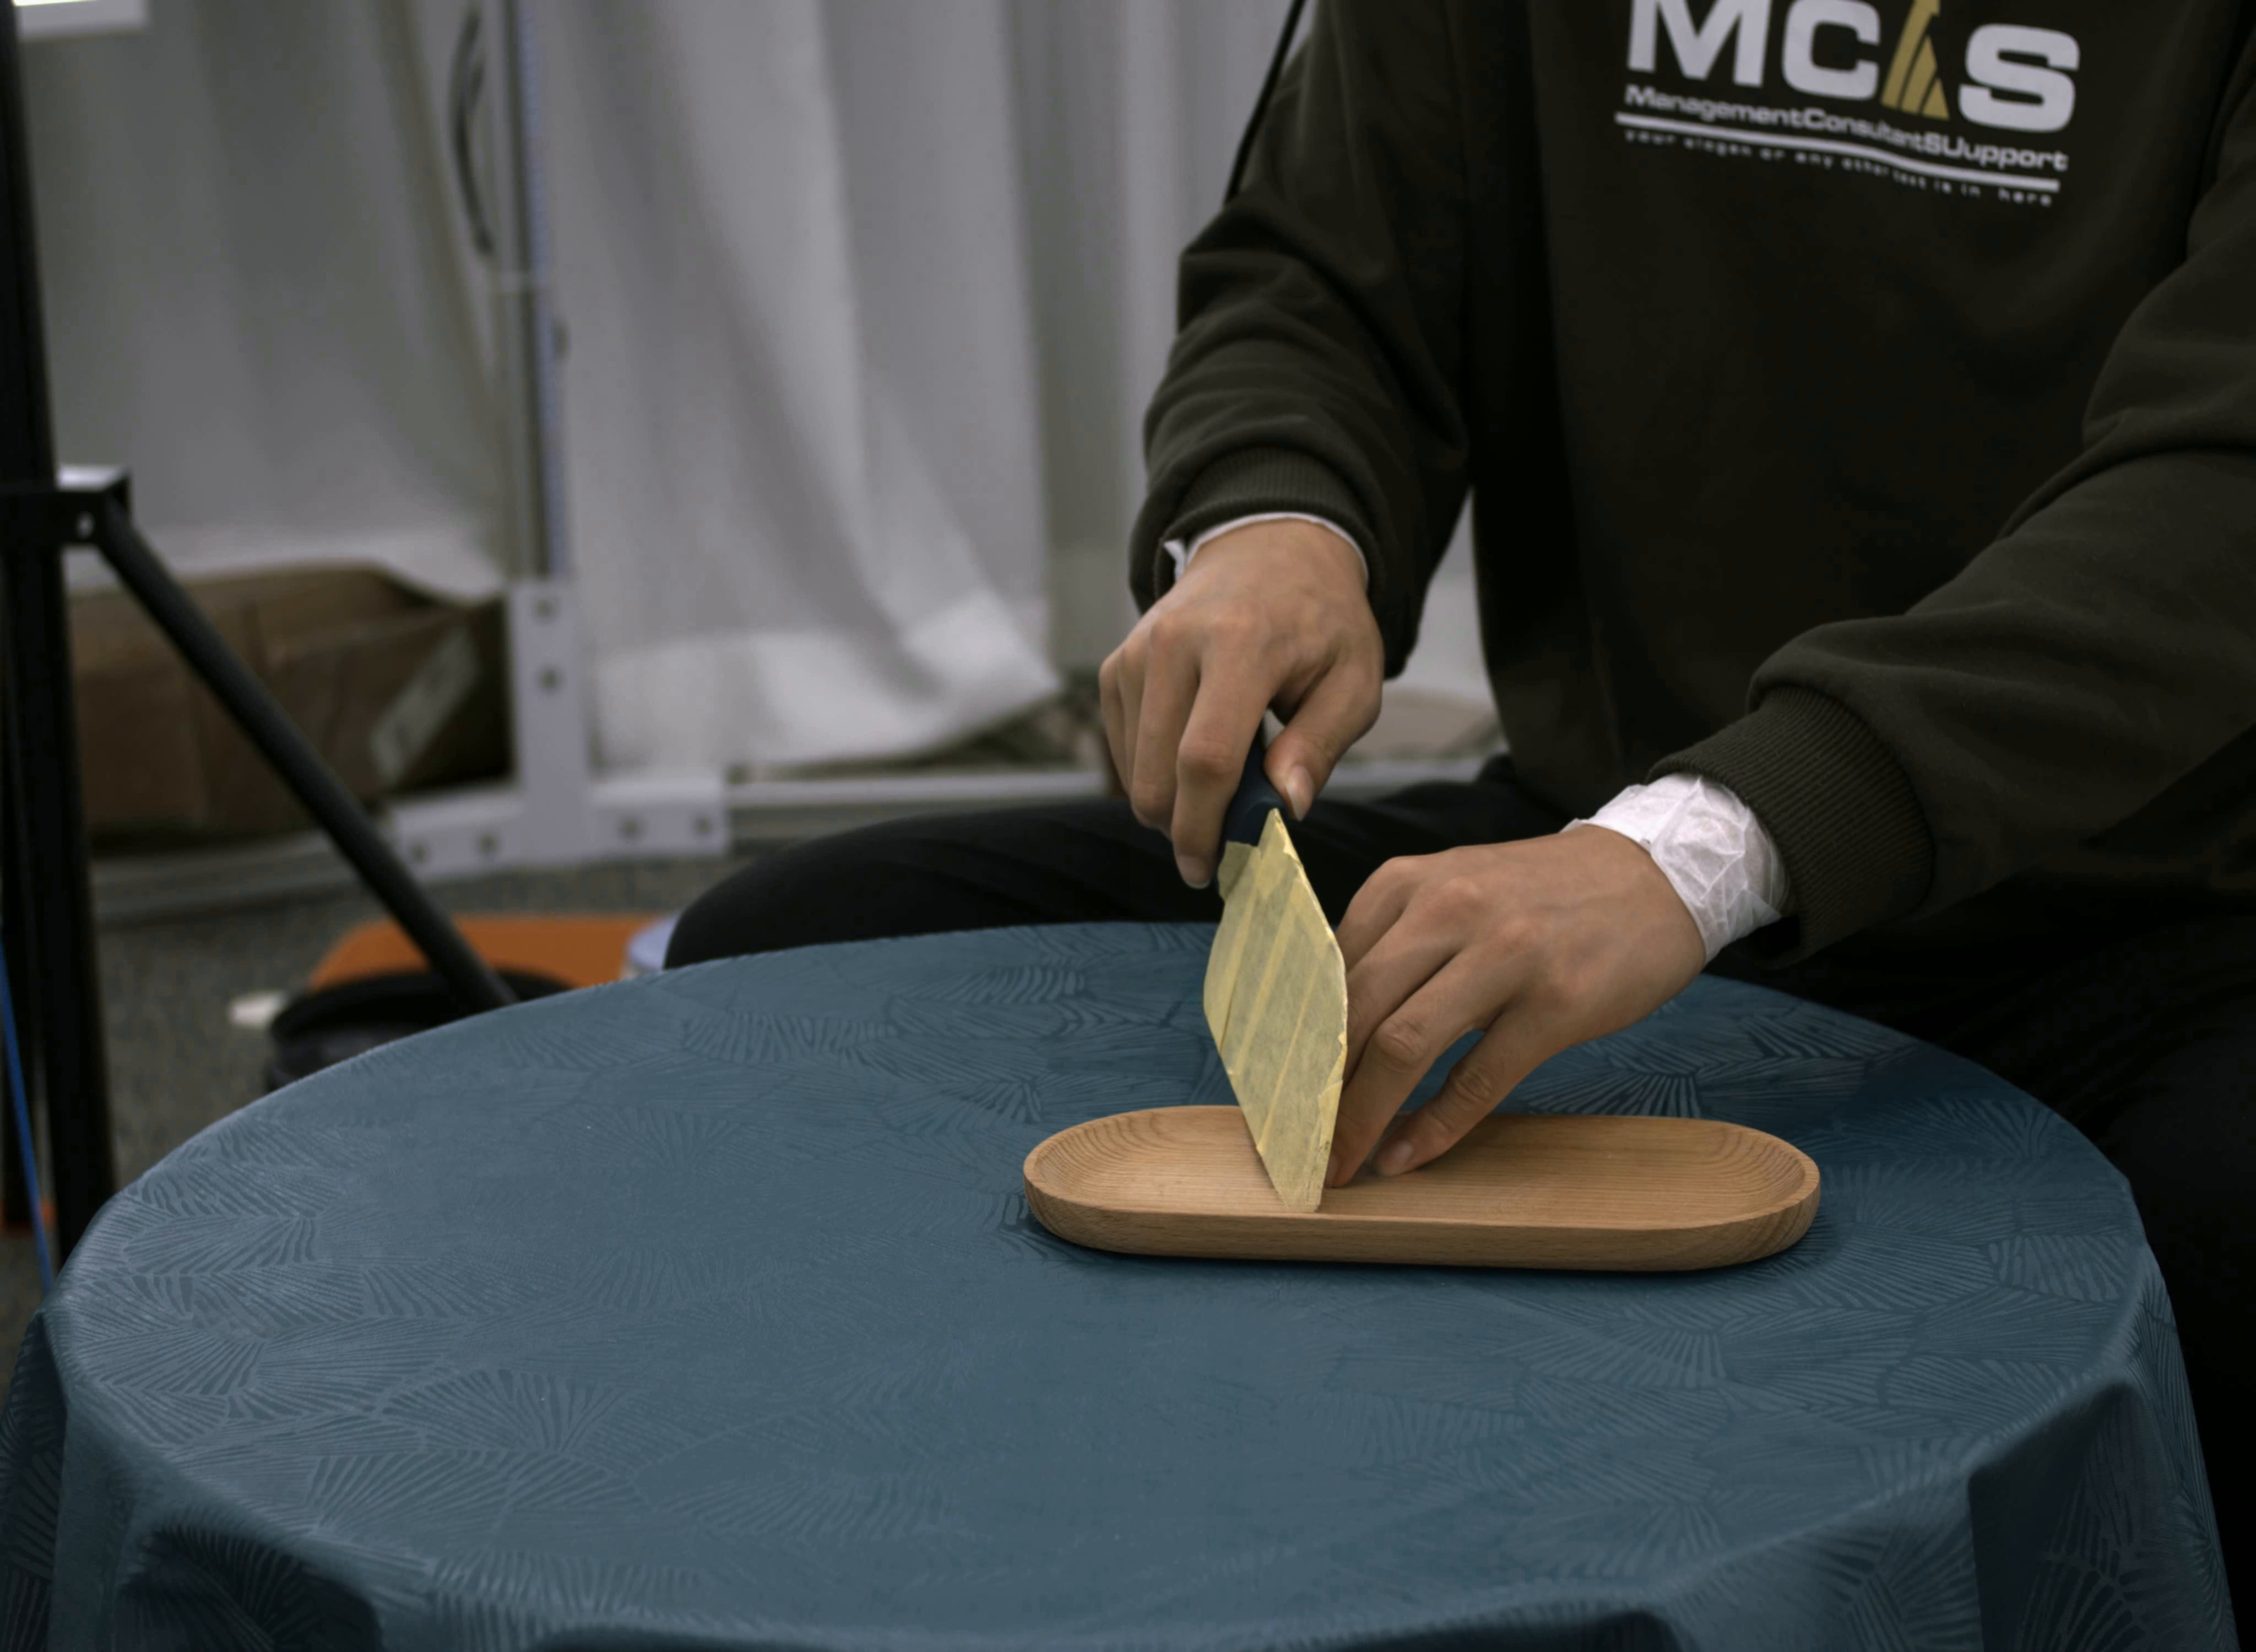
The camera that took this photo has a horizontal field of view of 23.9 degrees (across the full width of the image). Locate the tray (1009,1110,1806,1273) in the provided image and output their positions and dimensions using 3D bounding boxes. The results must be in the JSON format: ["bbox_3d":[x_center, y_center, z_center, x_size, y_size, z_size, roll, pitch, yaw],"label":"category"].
[{"bbox_3d":[0.080,0.106,1.529,0.232,0.020,0.101,0,13,13],"label":"tray"}]

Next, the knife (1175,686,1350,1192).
[{"bbox_3d":[0.038,0.030,1.622,0.027,0.081,0.292,16,22,-14],"label":"knife"}]
